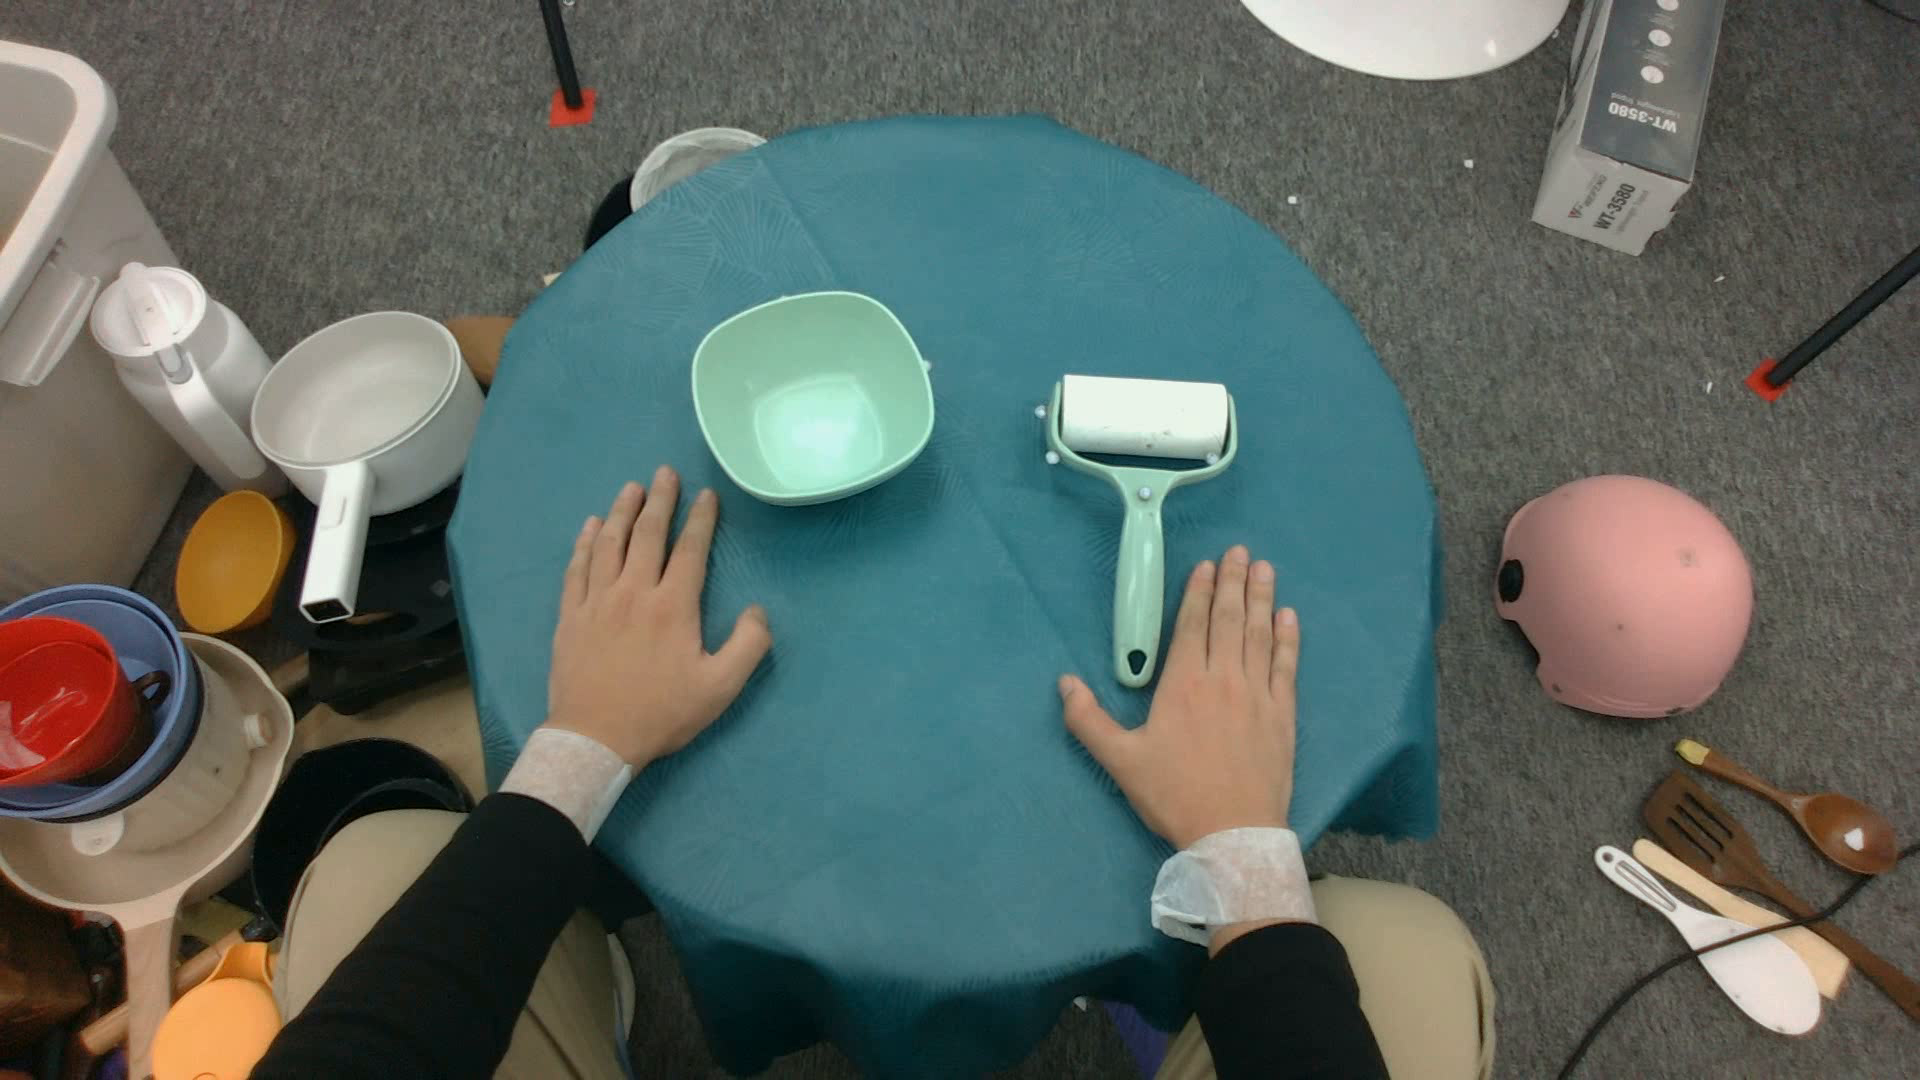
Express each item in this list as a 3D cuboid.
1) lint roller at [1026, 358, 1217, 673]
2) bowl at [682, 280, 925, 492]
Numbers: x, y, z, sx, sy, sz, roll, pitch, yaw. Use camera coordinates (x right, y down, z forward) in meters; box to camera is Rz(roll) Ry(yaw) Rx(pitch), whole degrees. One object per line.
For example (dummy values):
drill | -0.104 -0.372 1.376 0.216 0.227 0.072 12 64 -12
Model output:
lint roller | 0.095 -0.020 0.824 0.116 0.048 0.198 4 66 -2
bowl | -0.094 -0.084 0.840 0.151 0.058 0.152 1 63 -3
